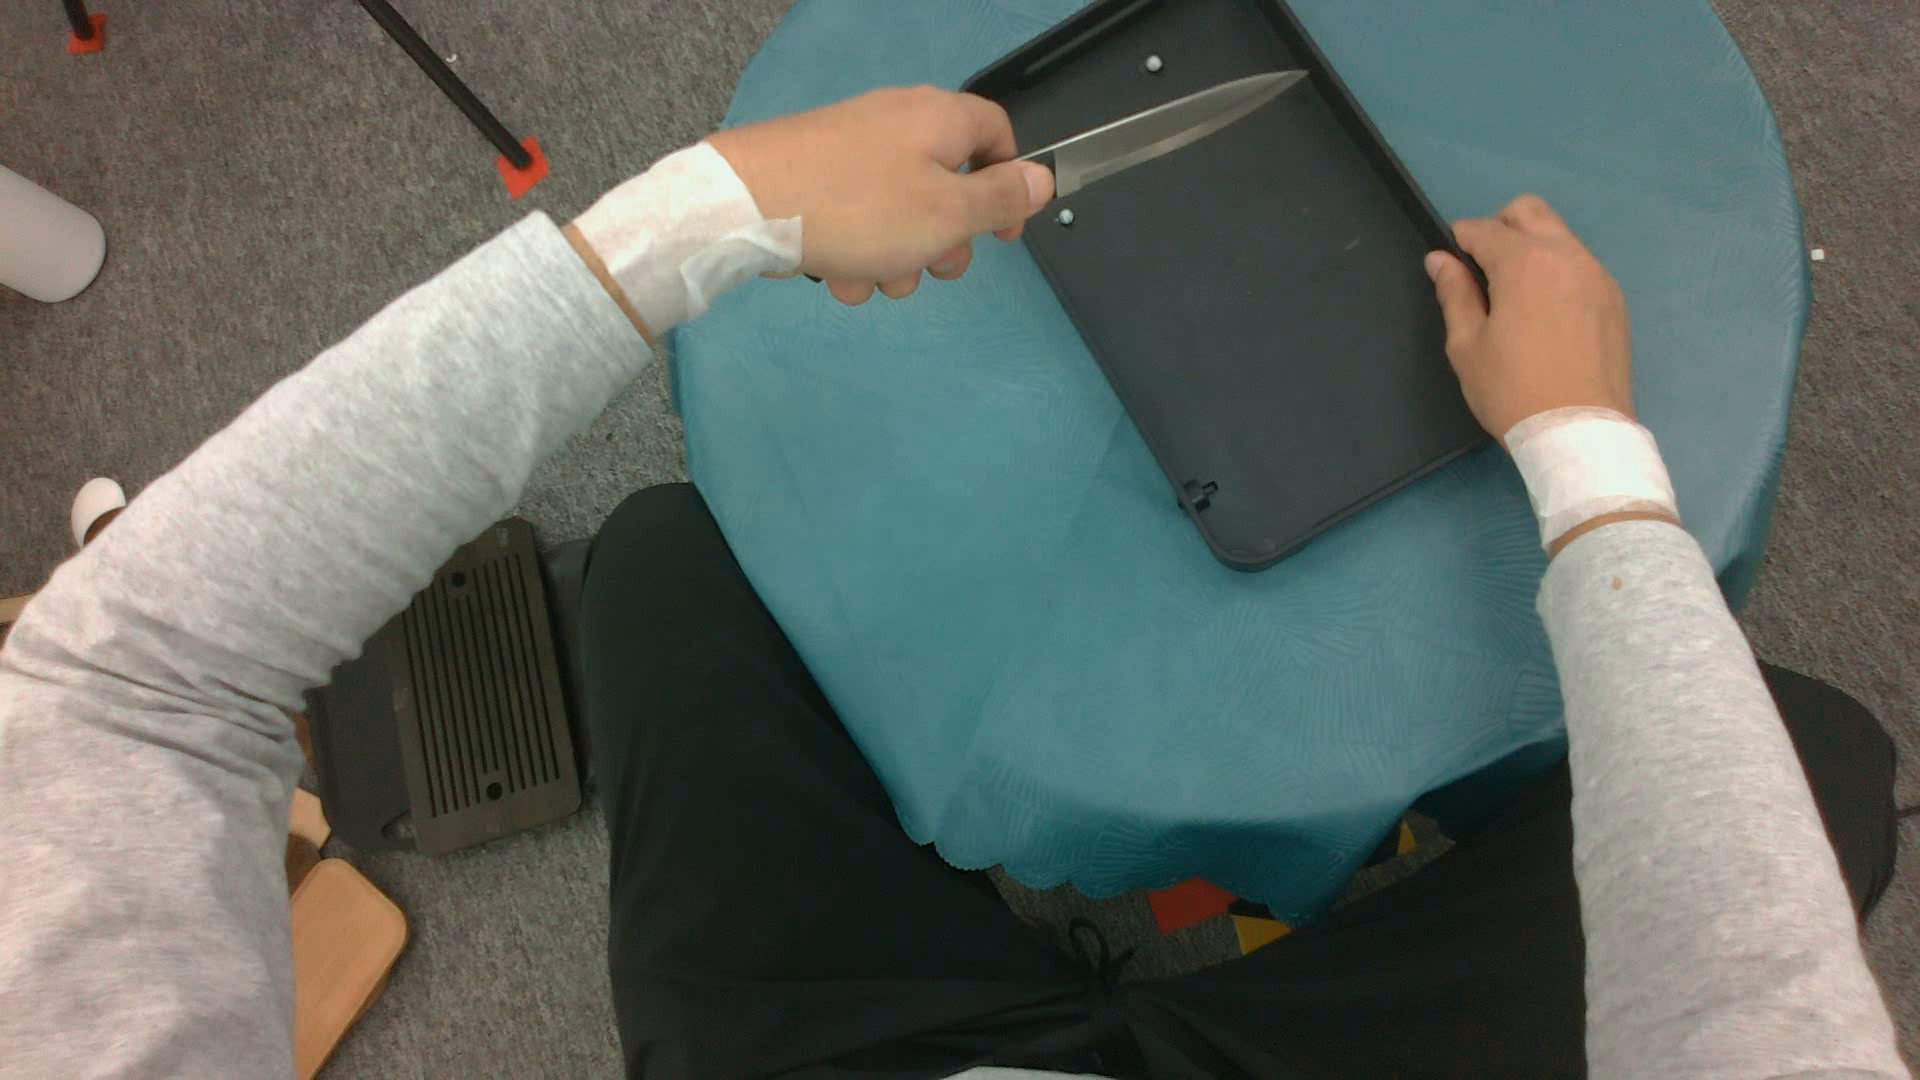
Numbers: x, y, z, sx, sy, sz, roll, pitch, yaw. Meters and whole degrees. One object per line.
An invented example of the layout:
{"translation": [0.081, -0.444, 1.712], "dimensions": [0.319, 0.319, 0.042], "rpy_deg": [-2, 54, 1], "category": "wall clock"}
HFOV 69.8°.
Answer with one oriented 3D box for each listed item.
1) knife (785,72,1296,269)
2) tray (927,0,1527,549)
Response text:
{"translation": [0.039, -0.154, 0.544], "dimensions": [0.239, 0.024, 0.016], "rpy_deg": [-24, 44, -19], "category": "knife"}
{"translation": [0.132, -0.165, 0.728], "dimensions": [0.184, 0.037, 0.318], "rpy_deg": [-31, 74, 3], "category": "tray"}
